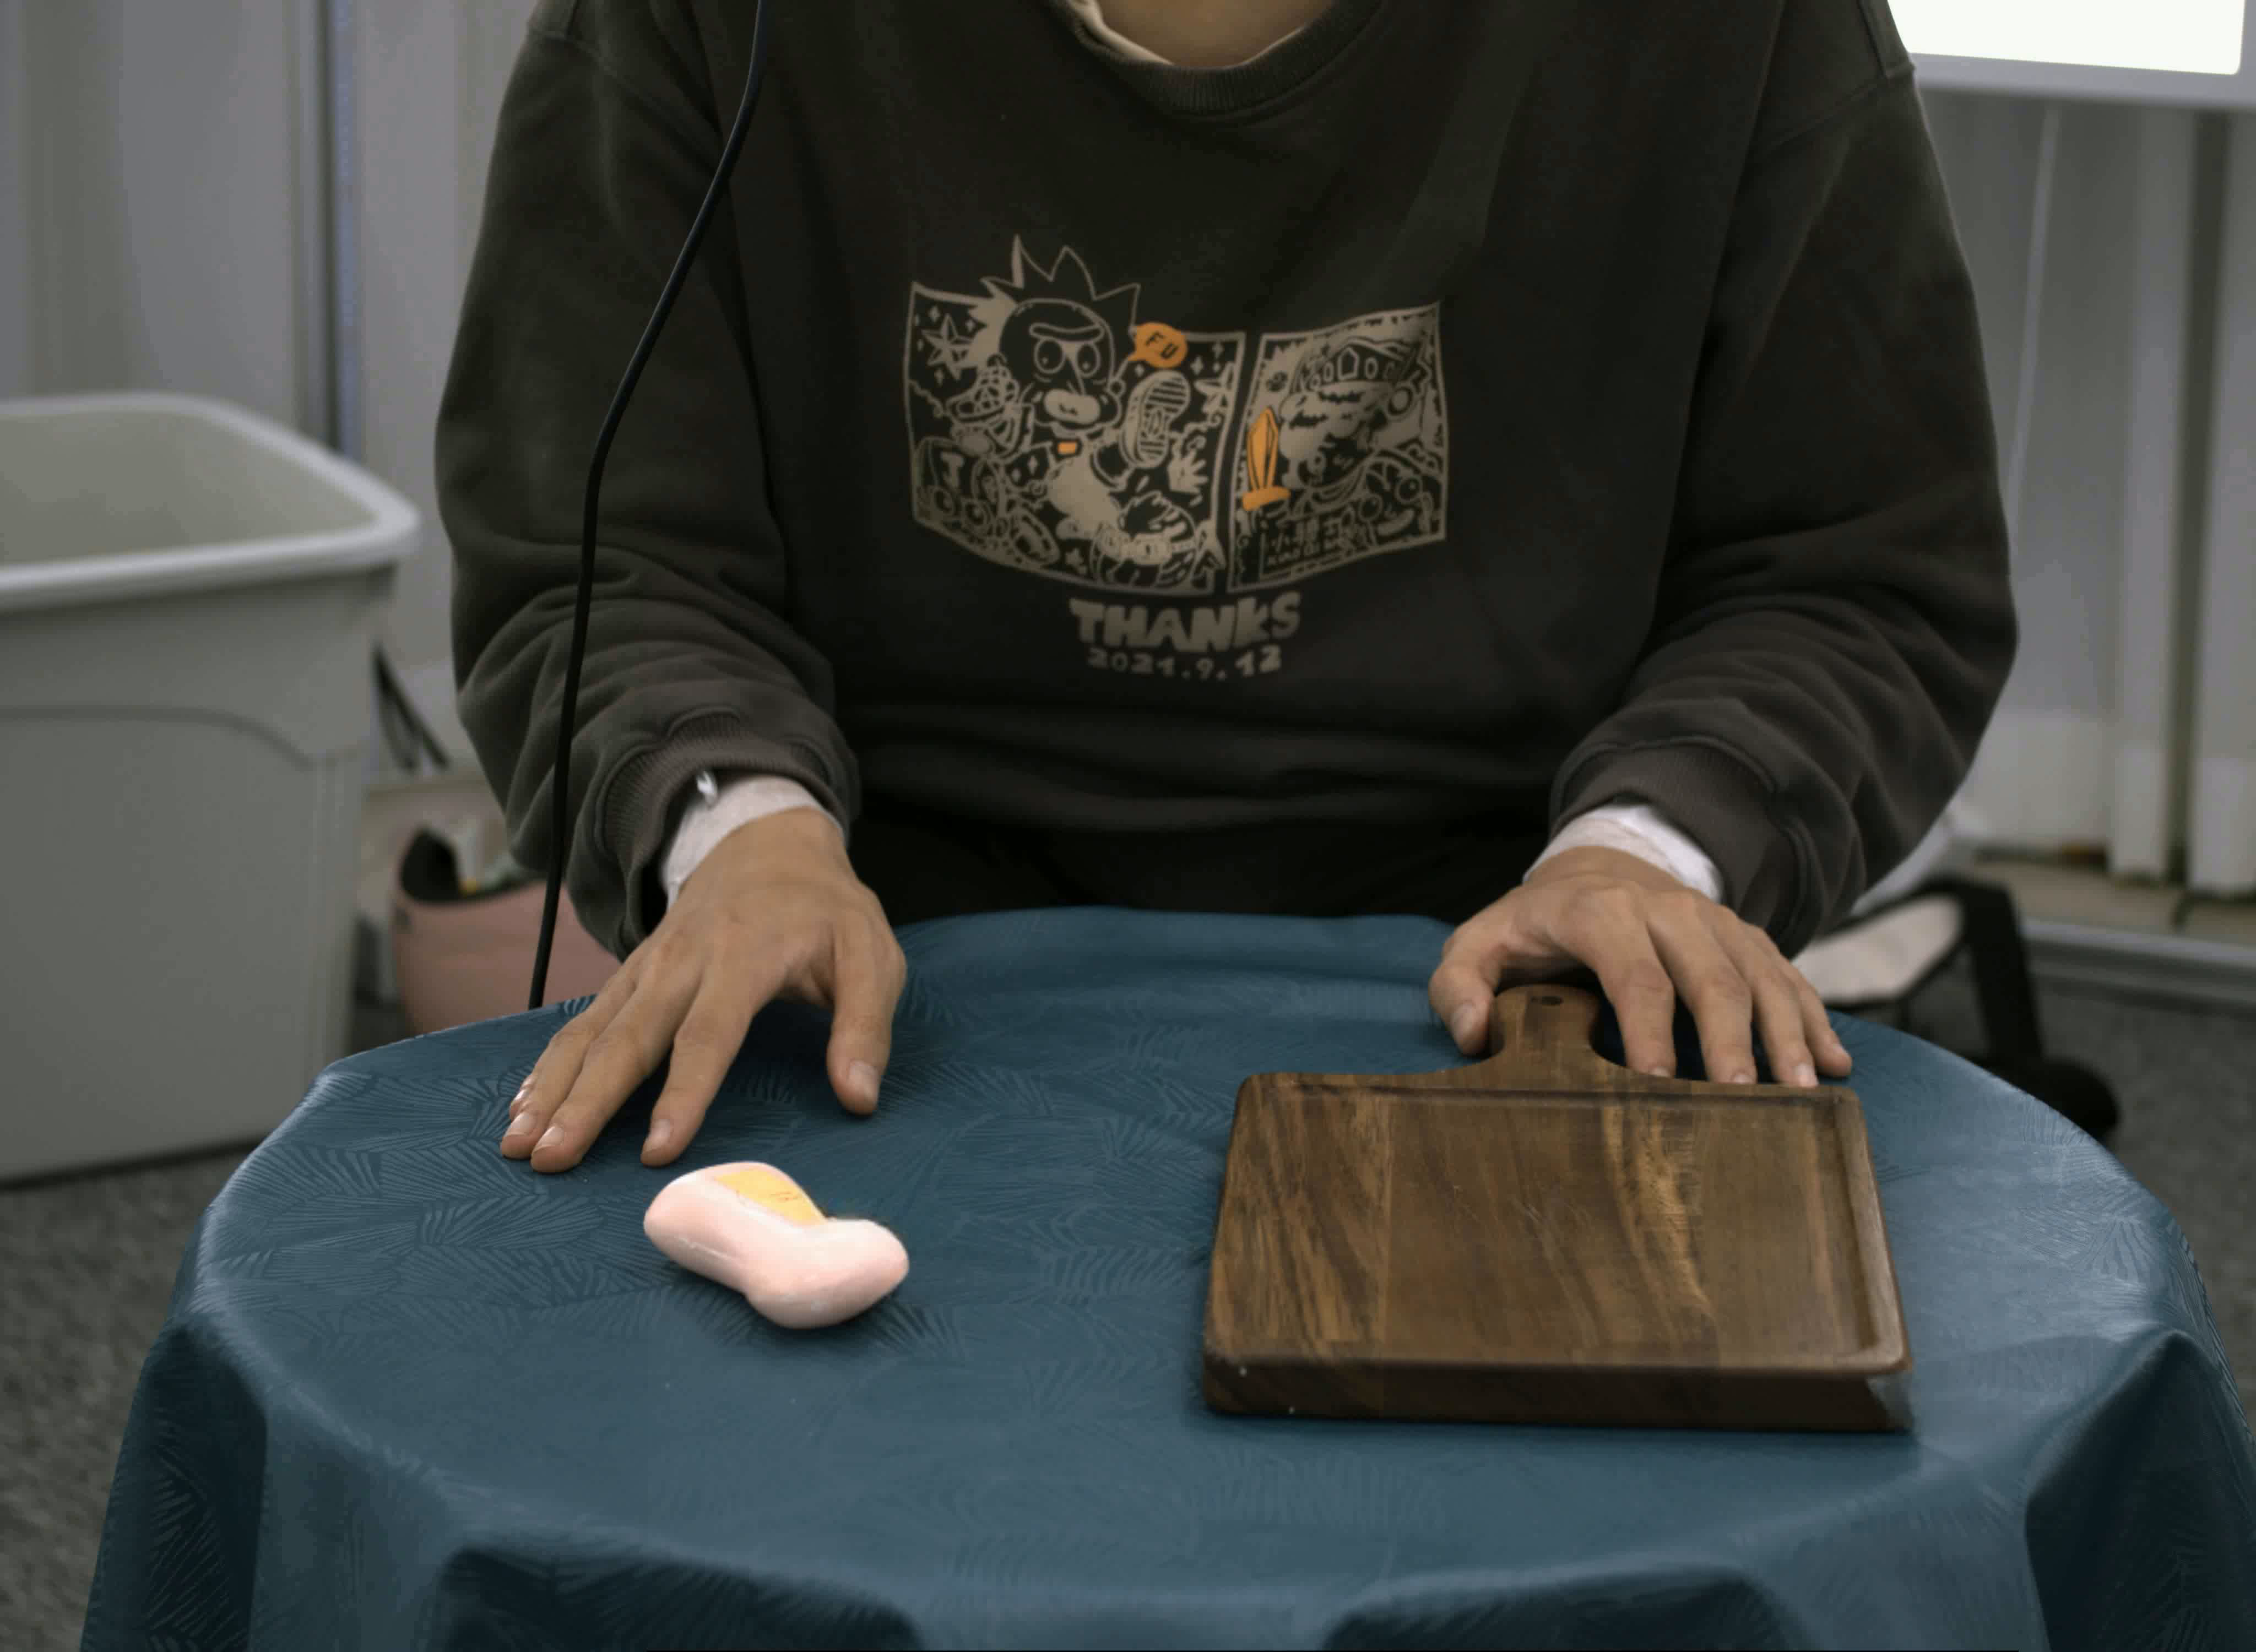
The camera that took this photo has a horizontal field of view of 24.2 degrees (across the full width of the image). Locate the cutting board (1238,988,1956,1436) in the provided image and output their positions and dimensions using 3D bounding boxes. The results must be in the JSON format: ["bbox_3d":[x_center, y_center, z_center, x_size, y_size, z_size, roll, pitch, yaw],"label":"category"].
[{"bbox_3d":[0.140,0.110,1.605,0.200,0.023,0.351,2,15,4],"label":"cutting board"}]

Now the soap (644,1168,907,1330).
[{"bbox_3d":[-0.103,0.123,1.537,0.050,0.030,0.093,-9,16,-31],"label":"soap"}]
